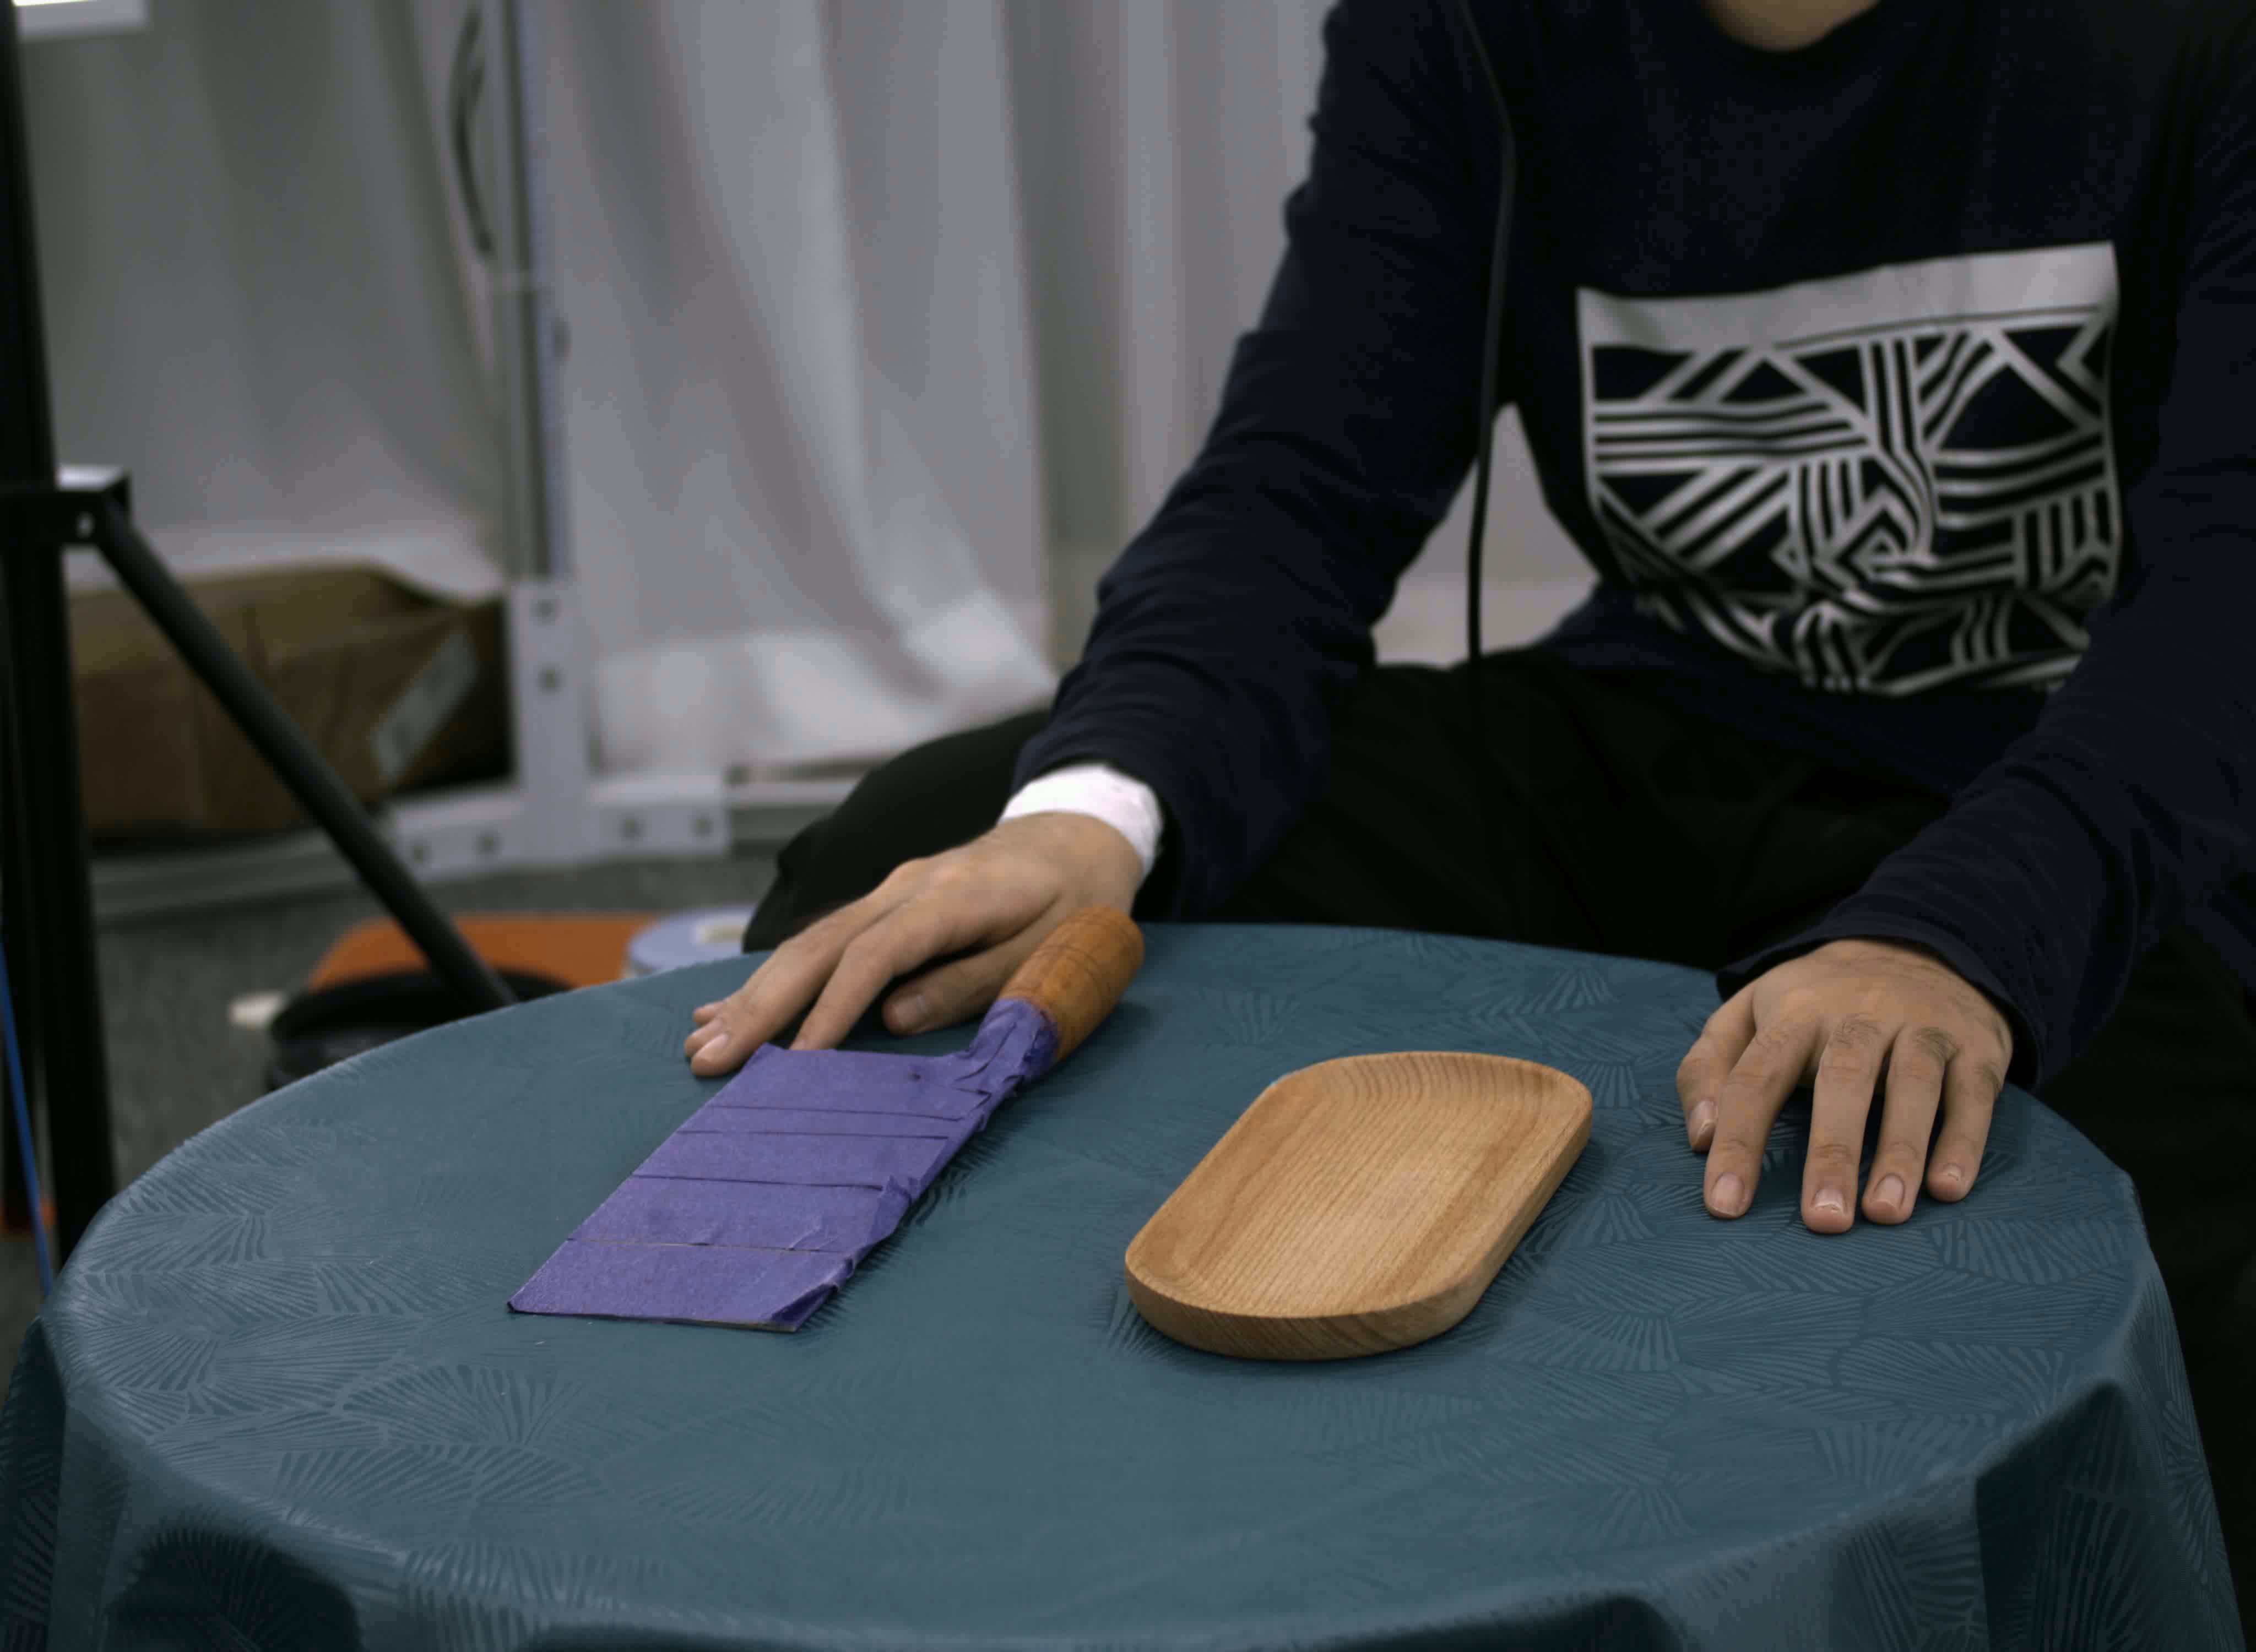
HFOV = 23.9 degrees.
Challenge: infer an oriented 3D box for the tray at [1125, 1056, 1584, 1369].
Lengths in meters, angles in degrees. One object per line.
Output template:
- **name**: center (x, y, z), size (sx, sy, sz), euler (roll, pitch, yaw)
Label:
- **tray**: center (0.068, 0.108, 1.520), size (0.102, 0.020, 0.229), euler (2, 17, 16)

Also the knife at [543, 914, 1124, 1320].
- **knife**: center (-0.086, 0.084, 1.610), size (0.105, 0.032, 0.312), euler (3, 17, 17)
